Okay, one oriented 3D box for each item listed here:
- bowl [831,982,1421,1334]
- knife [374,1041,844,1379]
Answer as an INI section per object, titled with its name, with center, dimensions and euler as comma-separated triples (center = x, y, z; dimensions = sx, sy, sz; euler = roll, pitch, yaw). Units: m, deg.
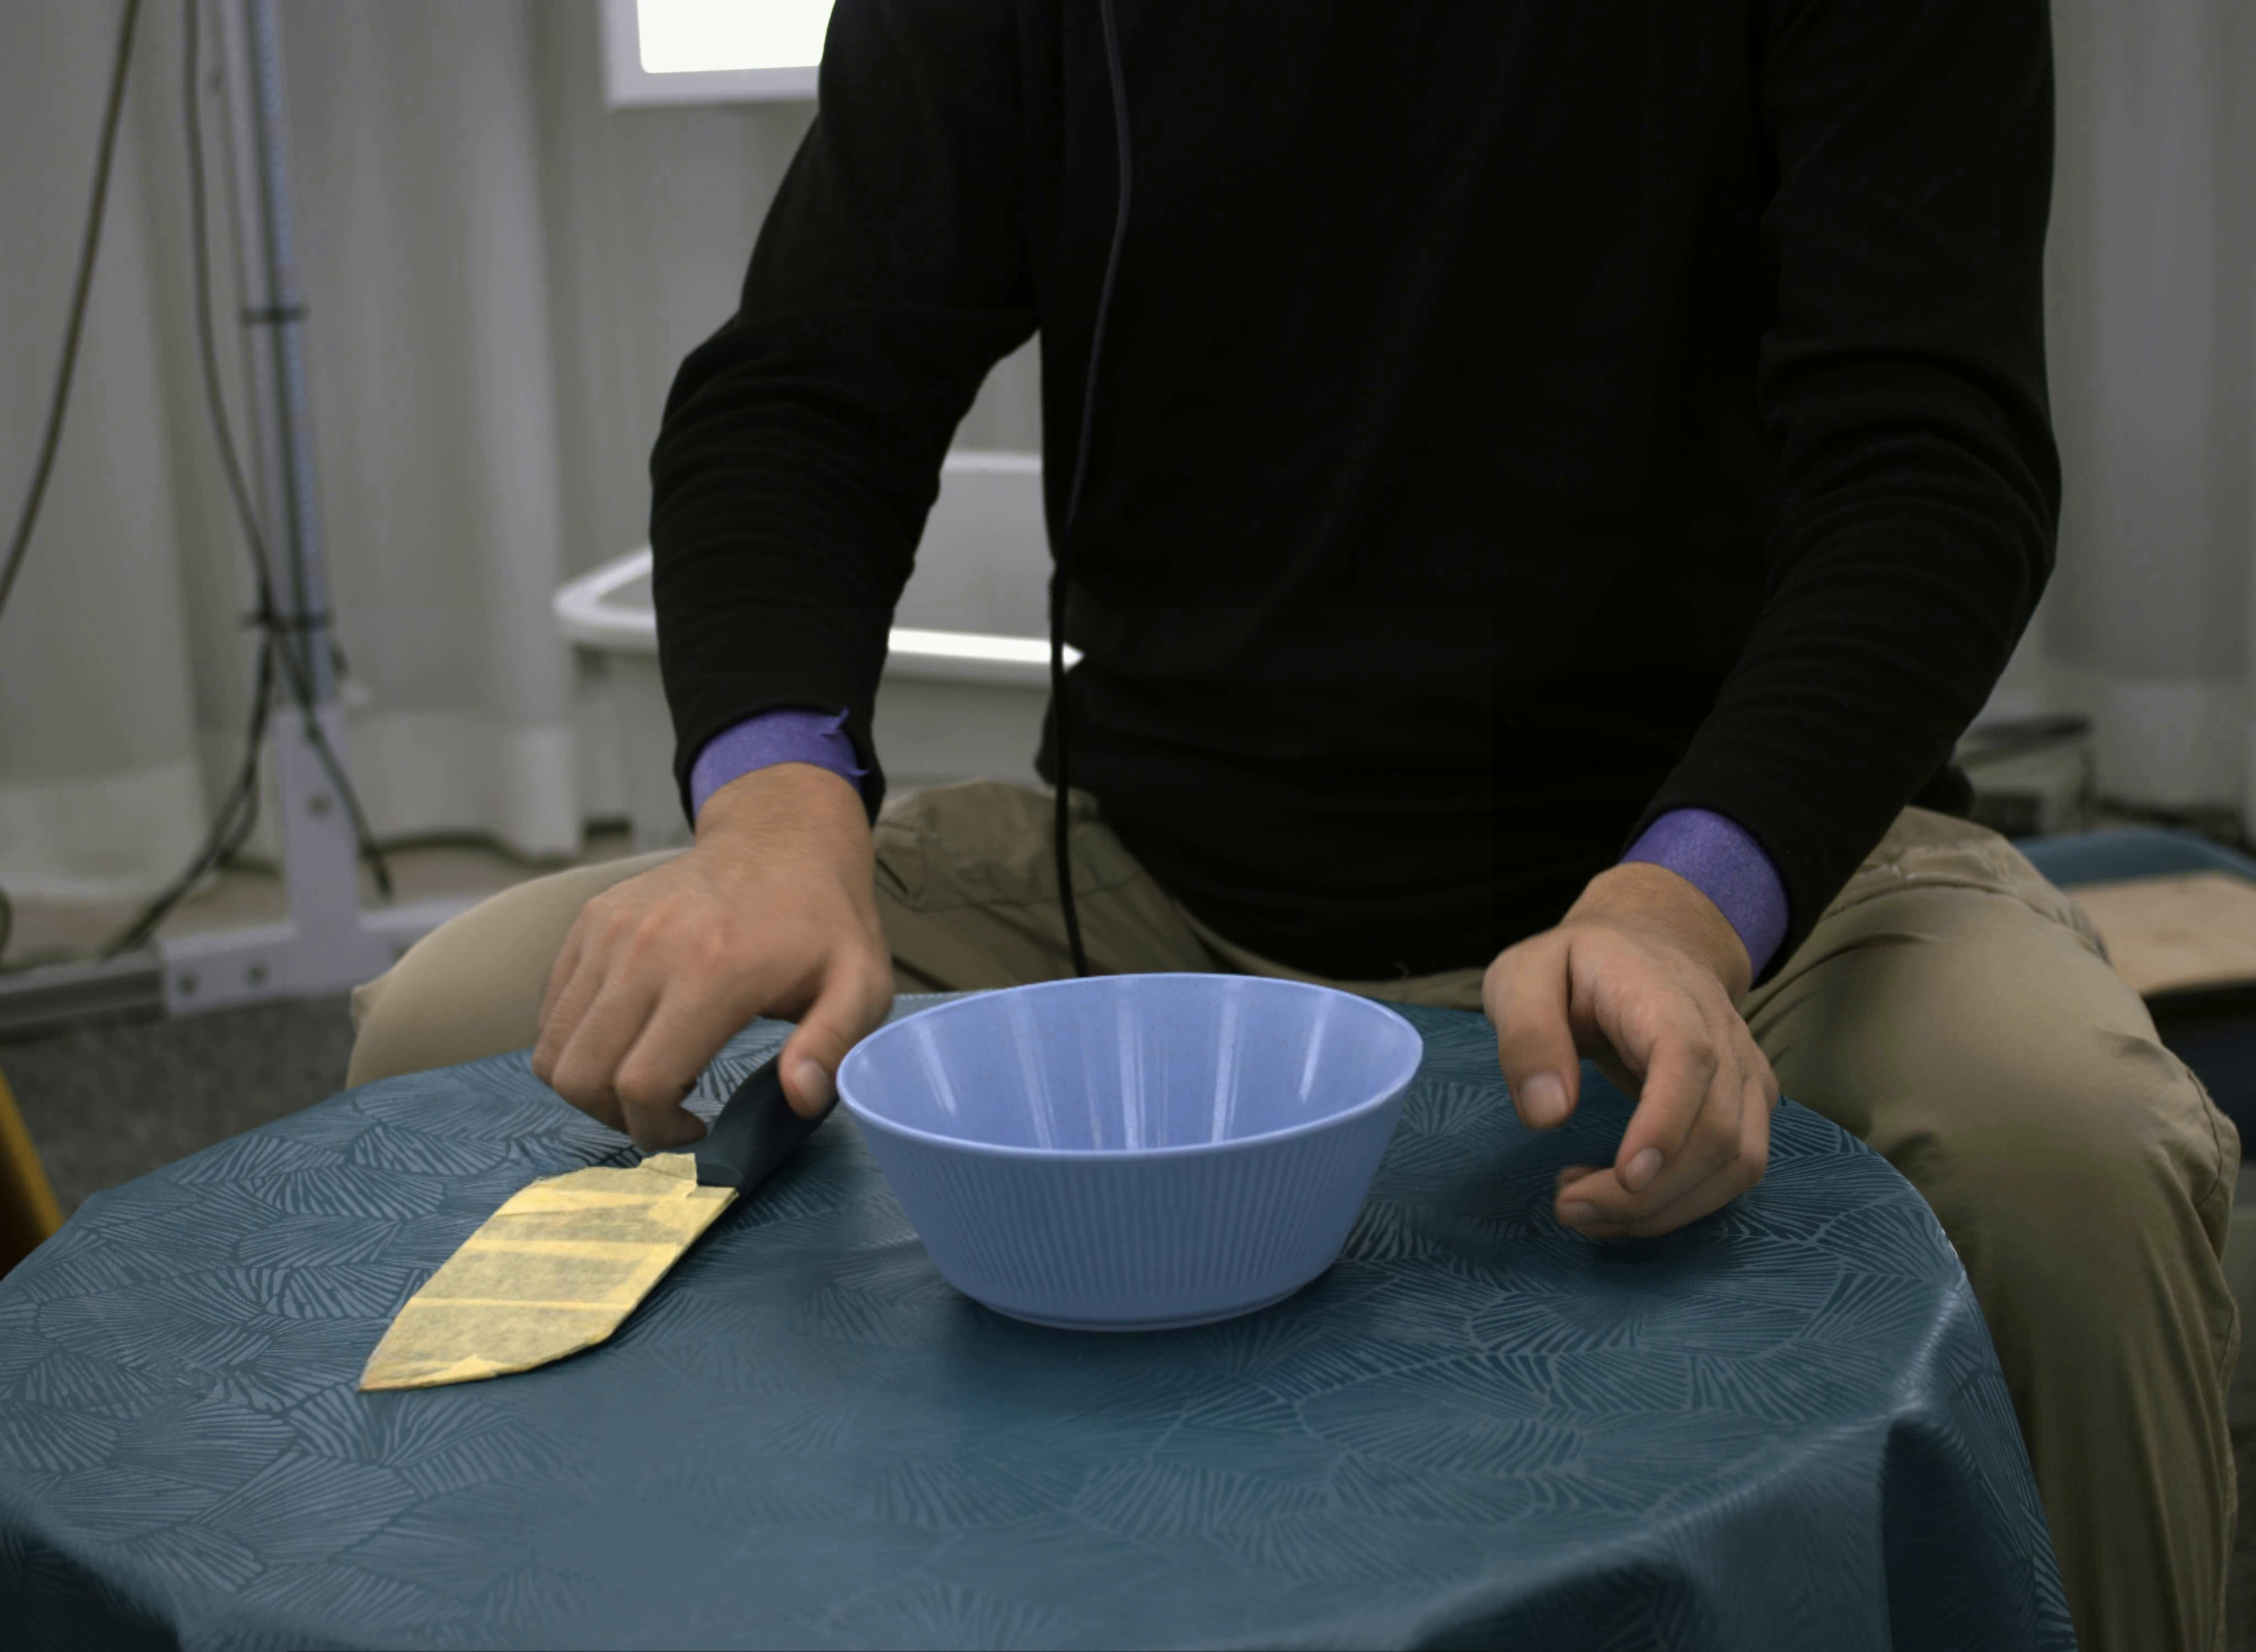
[bowl]
center = 0.001, 0.101, 1.633
dimensions = 0.175, 0.070, 0.177
euler = -3, 15, 1
[knife]
center = -0.156, 0.119, 1.701
dimensions = 0.081, 0.027, 0.290
euler = 3, 17, 19
